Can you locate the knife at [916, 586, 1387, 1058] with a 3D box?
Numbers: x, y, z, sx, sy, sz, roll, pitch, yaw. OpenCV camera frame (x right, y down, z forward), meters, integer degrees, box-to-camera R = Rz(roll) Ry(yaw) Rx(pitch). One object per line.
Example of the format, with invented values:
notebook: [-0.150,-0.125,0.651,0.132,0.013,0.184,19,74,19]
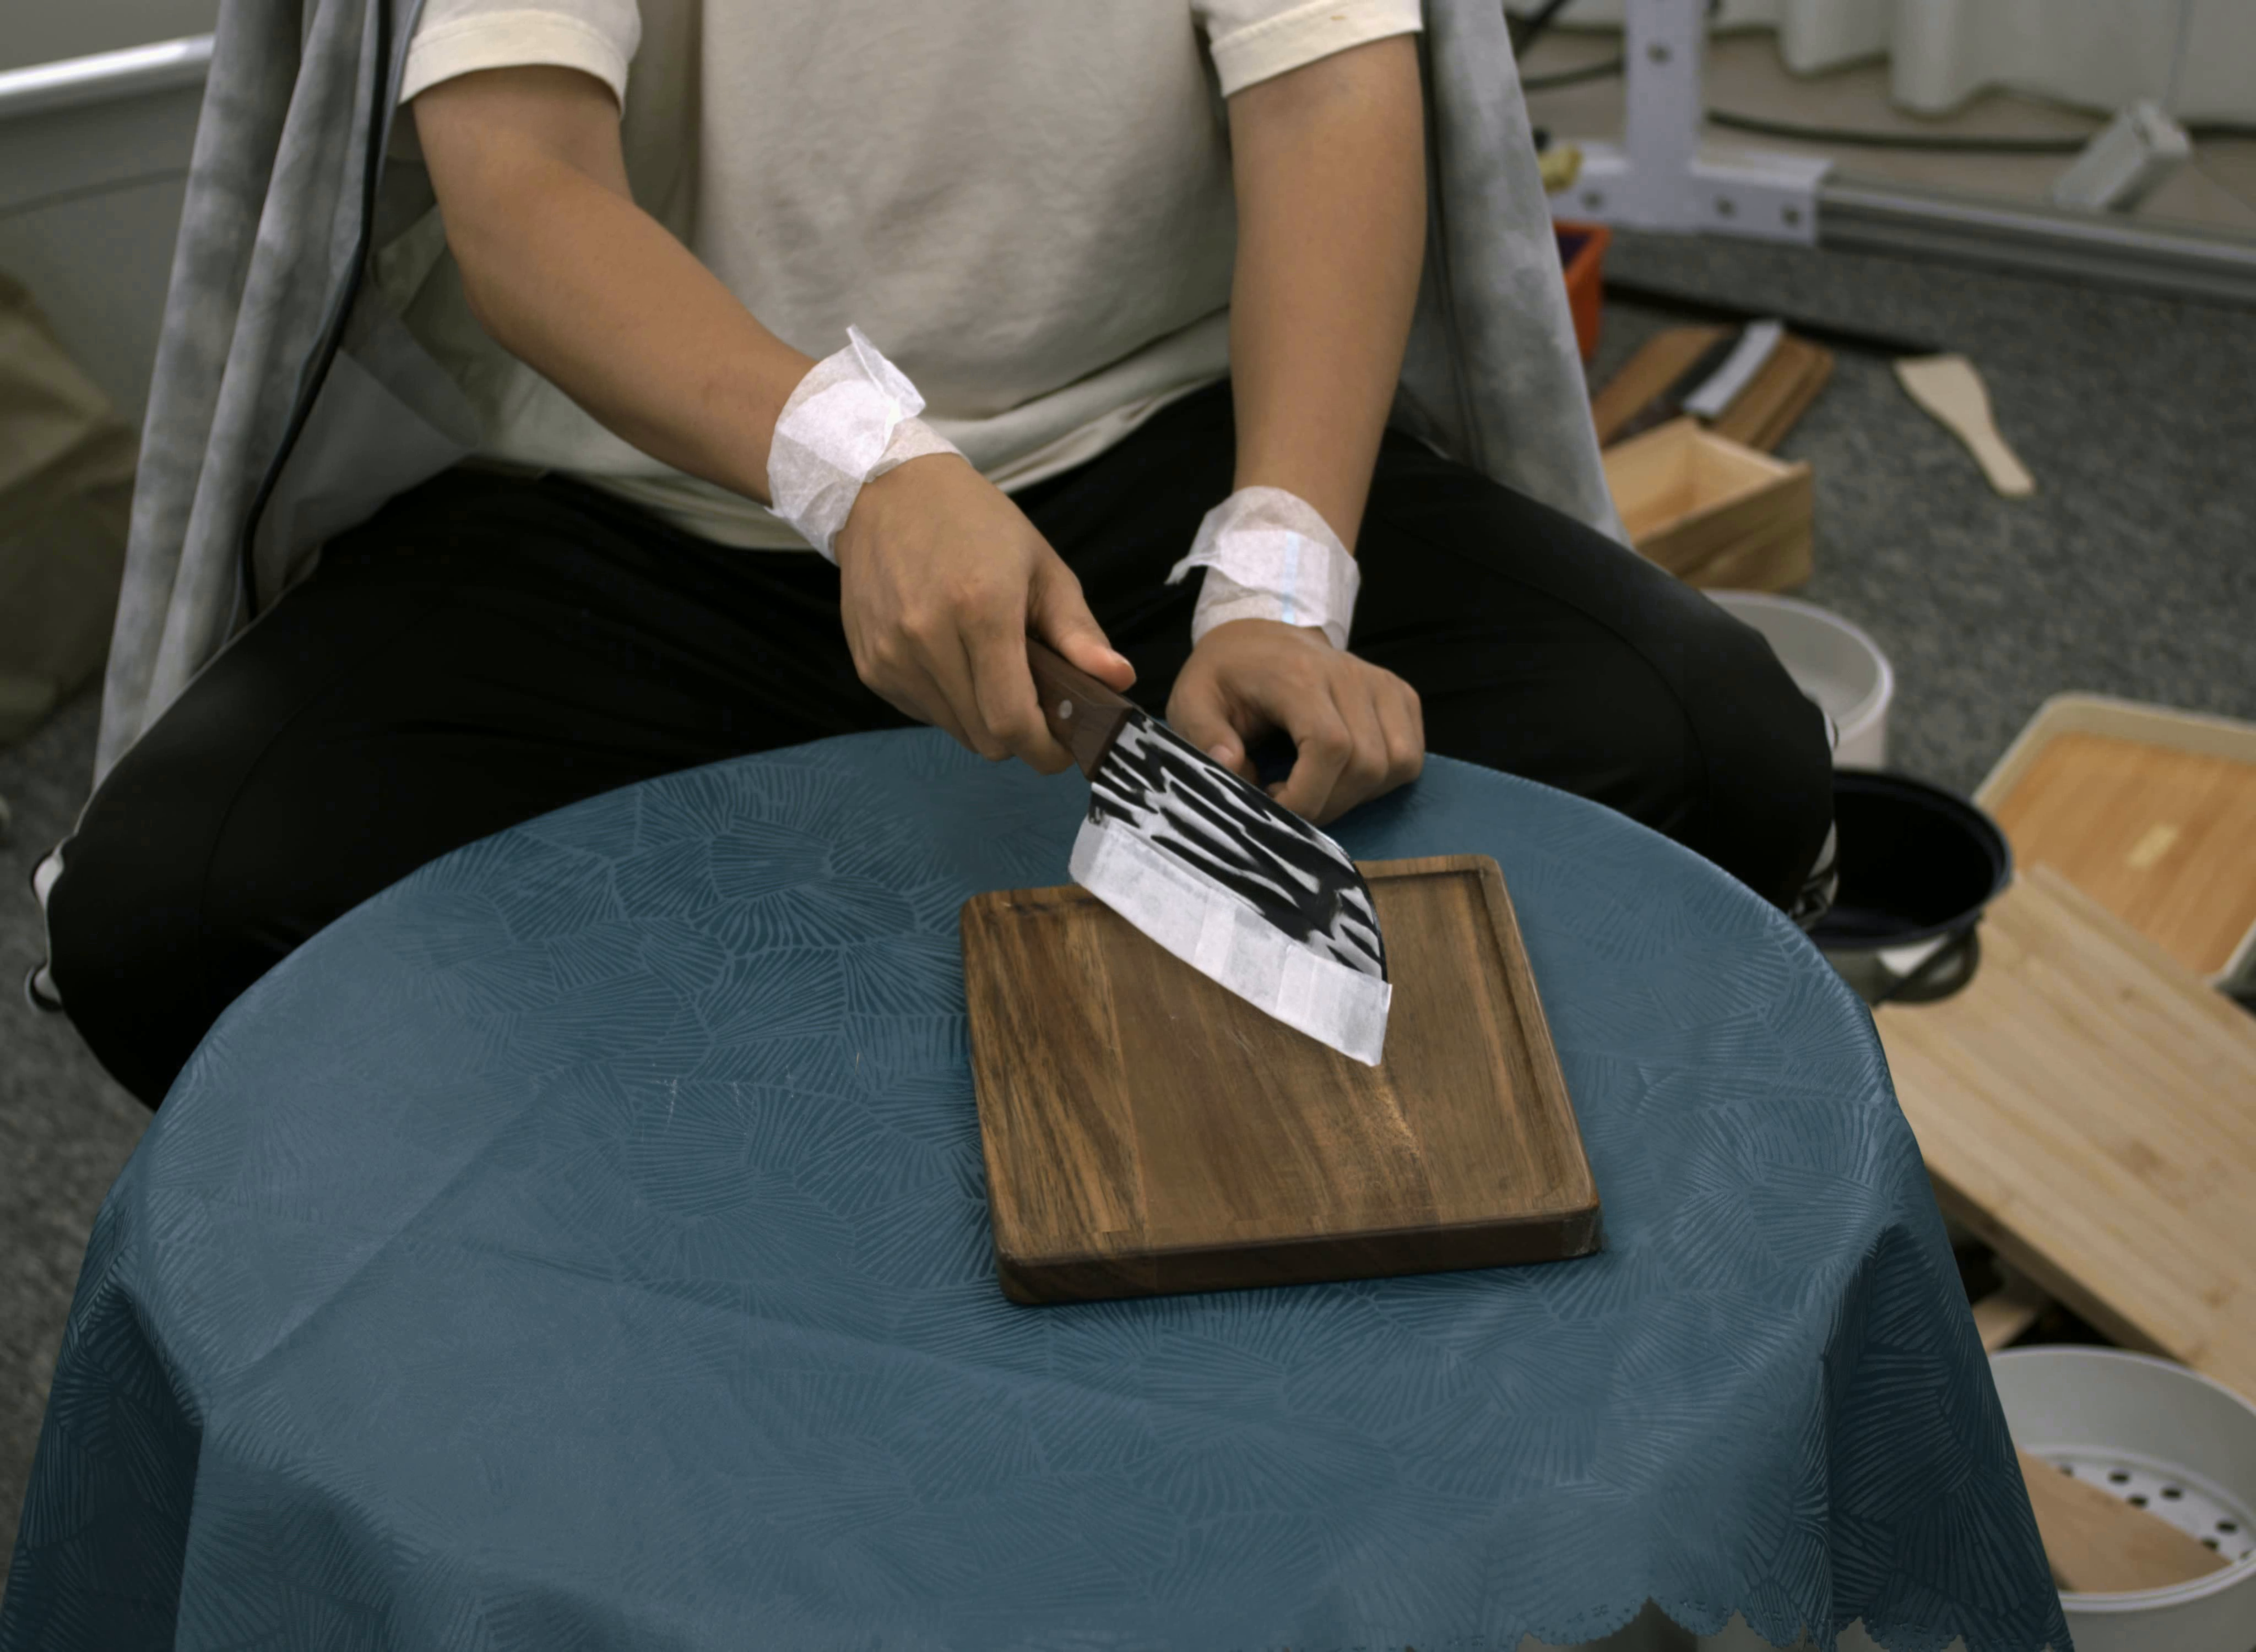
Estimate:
knife: [0.005,-0.004,1.979,0.024,0.068,0.300,13,16,-42]

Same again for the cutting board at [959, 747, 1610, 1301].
cutting board: [0.044,0.058,1.956,0.200,0.023,0.357,-4,27,-3]
